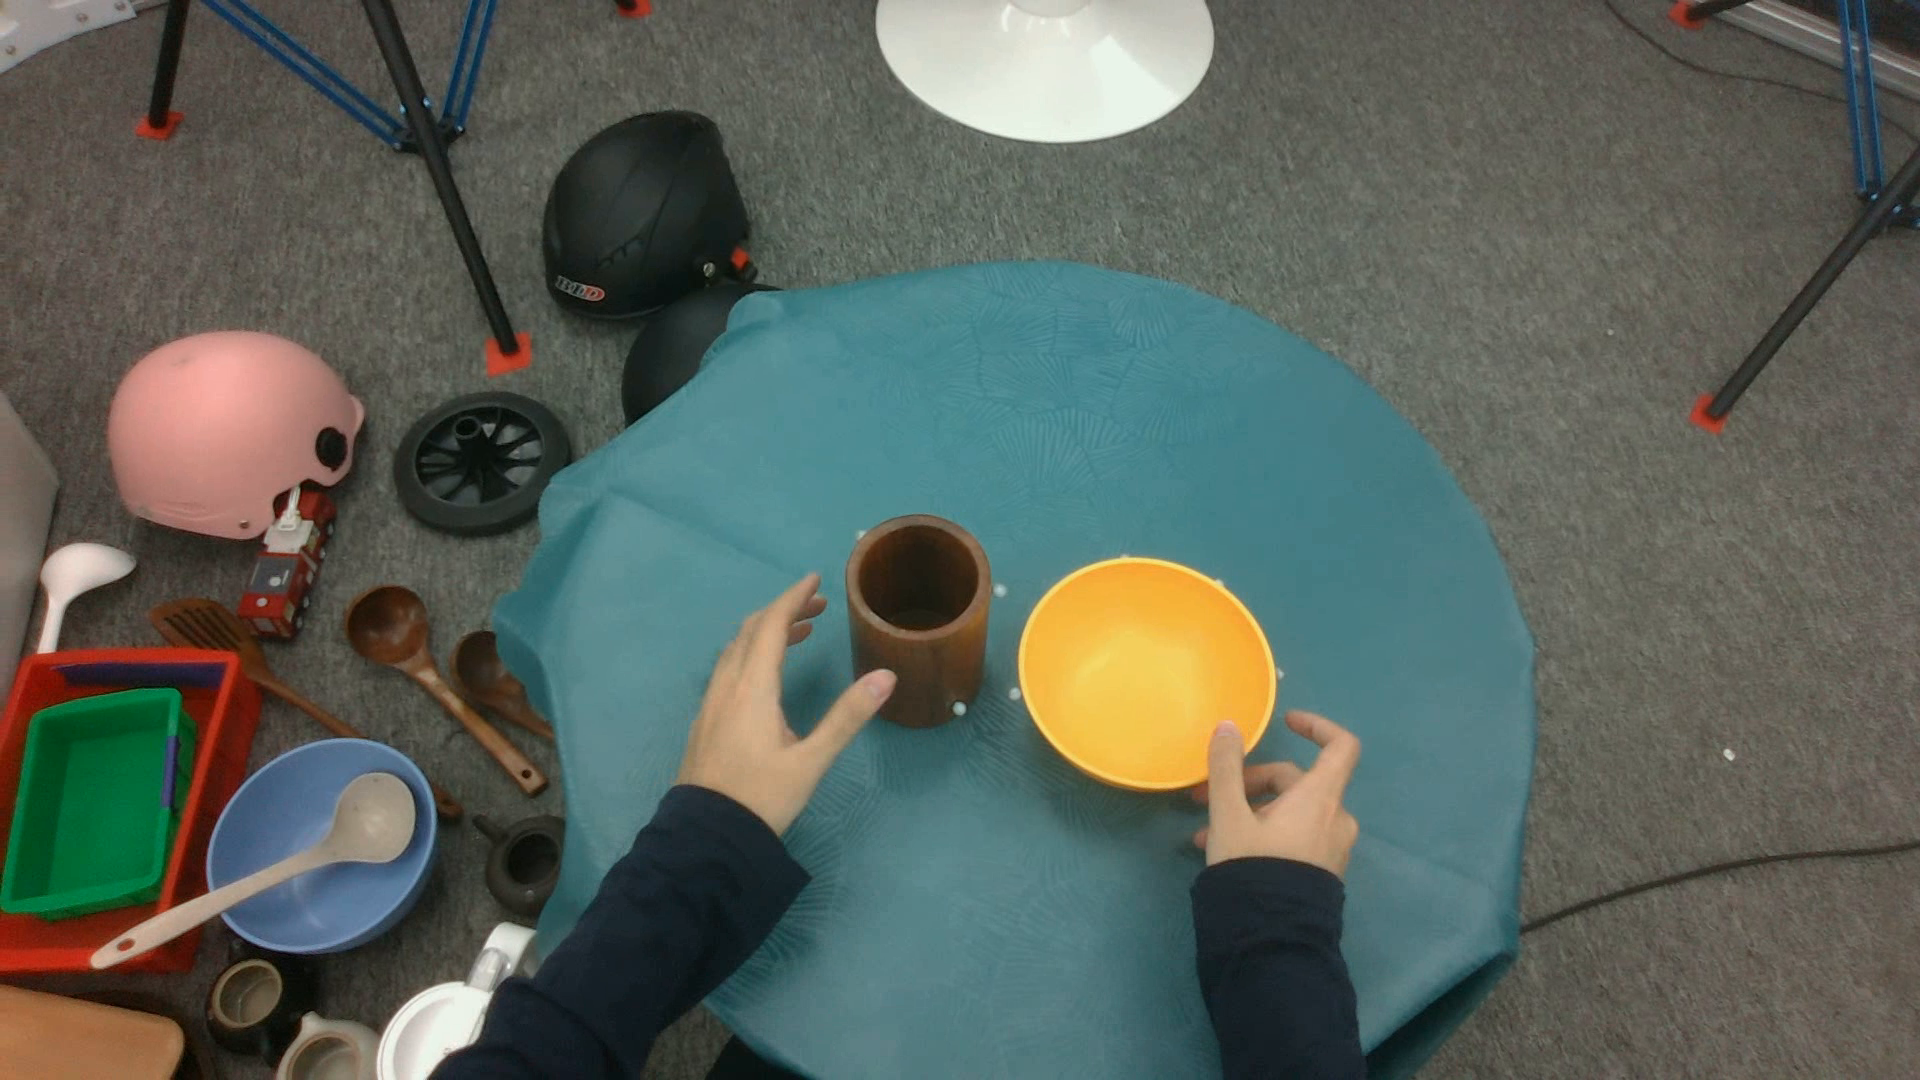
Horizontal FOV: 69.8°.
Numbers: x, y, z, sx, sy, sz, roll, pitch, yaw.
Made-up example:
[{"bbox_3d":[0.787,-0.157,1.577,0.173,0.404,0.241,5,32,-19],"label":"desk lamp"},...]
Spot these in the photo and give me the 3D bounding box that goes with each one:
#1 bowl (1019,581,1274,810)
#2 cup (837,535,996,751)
[{"bbox_3d":[0.106,0.099,0.807,0.145,0.060,0.146,0,57,-1],"label":"bowl"},{"bbox_3d":[-0.023,0.062,0.793,0.088,0.118,0.088,0,57,0],"label":"cup"}]
